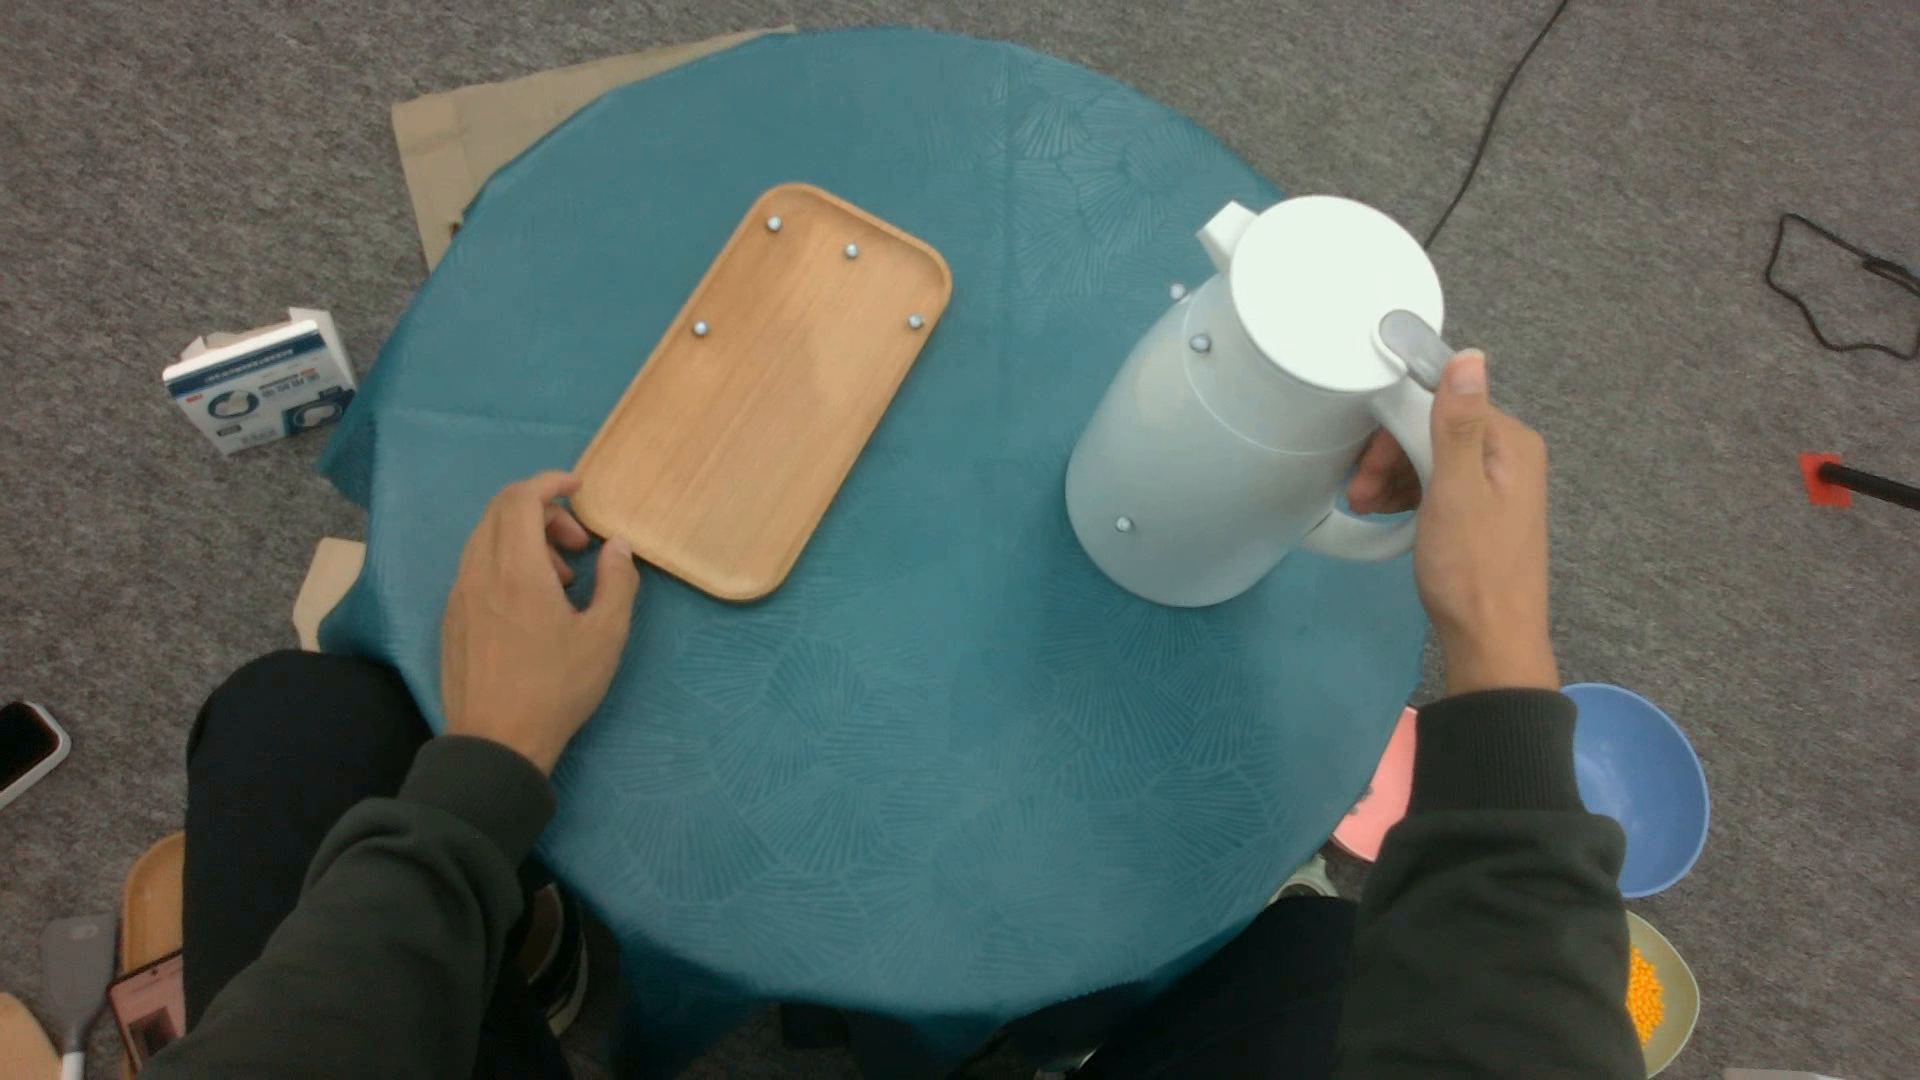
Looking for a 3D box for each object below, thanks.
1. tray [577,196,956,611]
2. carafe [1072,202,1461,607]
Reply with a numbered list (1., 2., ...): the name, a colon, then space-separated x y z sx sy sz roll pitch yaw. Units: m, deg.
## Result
1. tray: -0.105 -0.083 0.789 0.130 0.023 0.251 27 69 5
2. carafe: 0.159 -0.053 0.690 0.168 0.247 0.133 42 70 8
